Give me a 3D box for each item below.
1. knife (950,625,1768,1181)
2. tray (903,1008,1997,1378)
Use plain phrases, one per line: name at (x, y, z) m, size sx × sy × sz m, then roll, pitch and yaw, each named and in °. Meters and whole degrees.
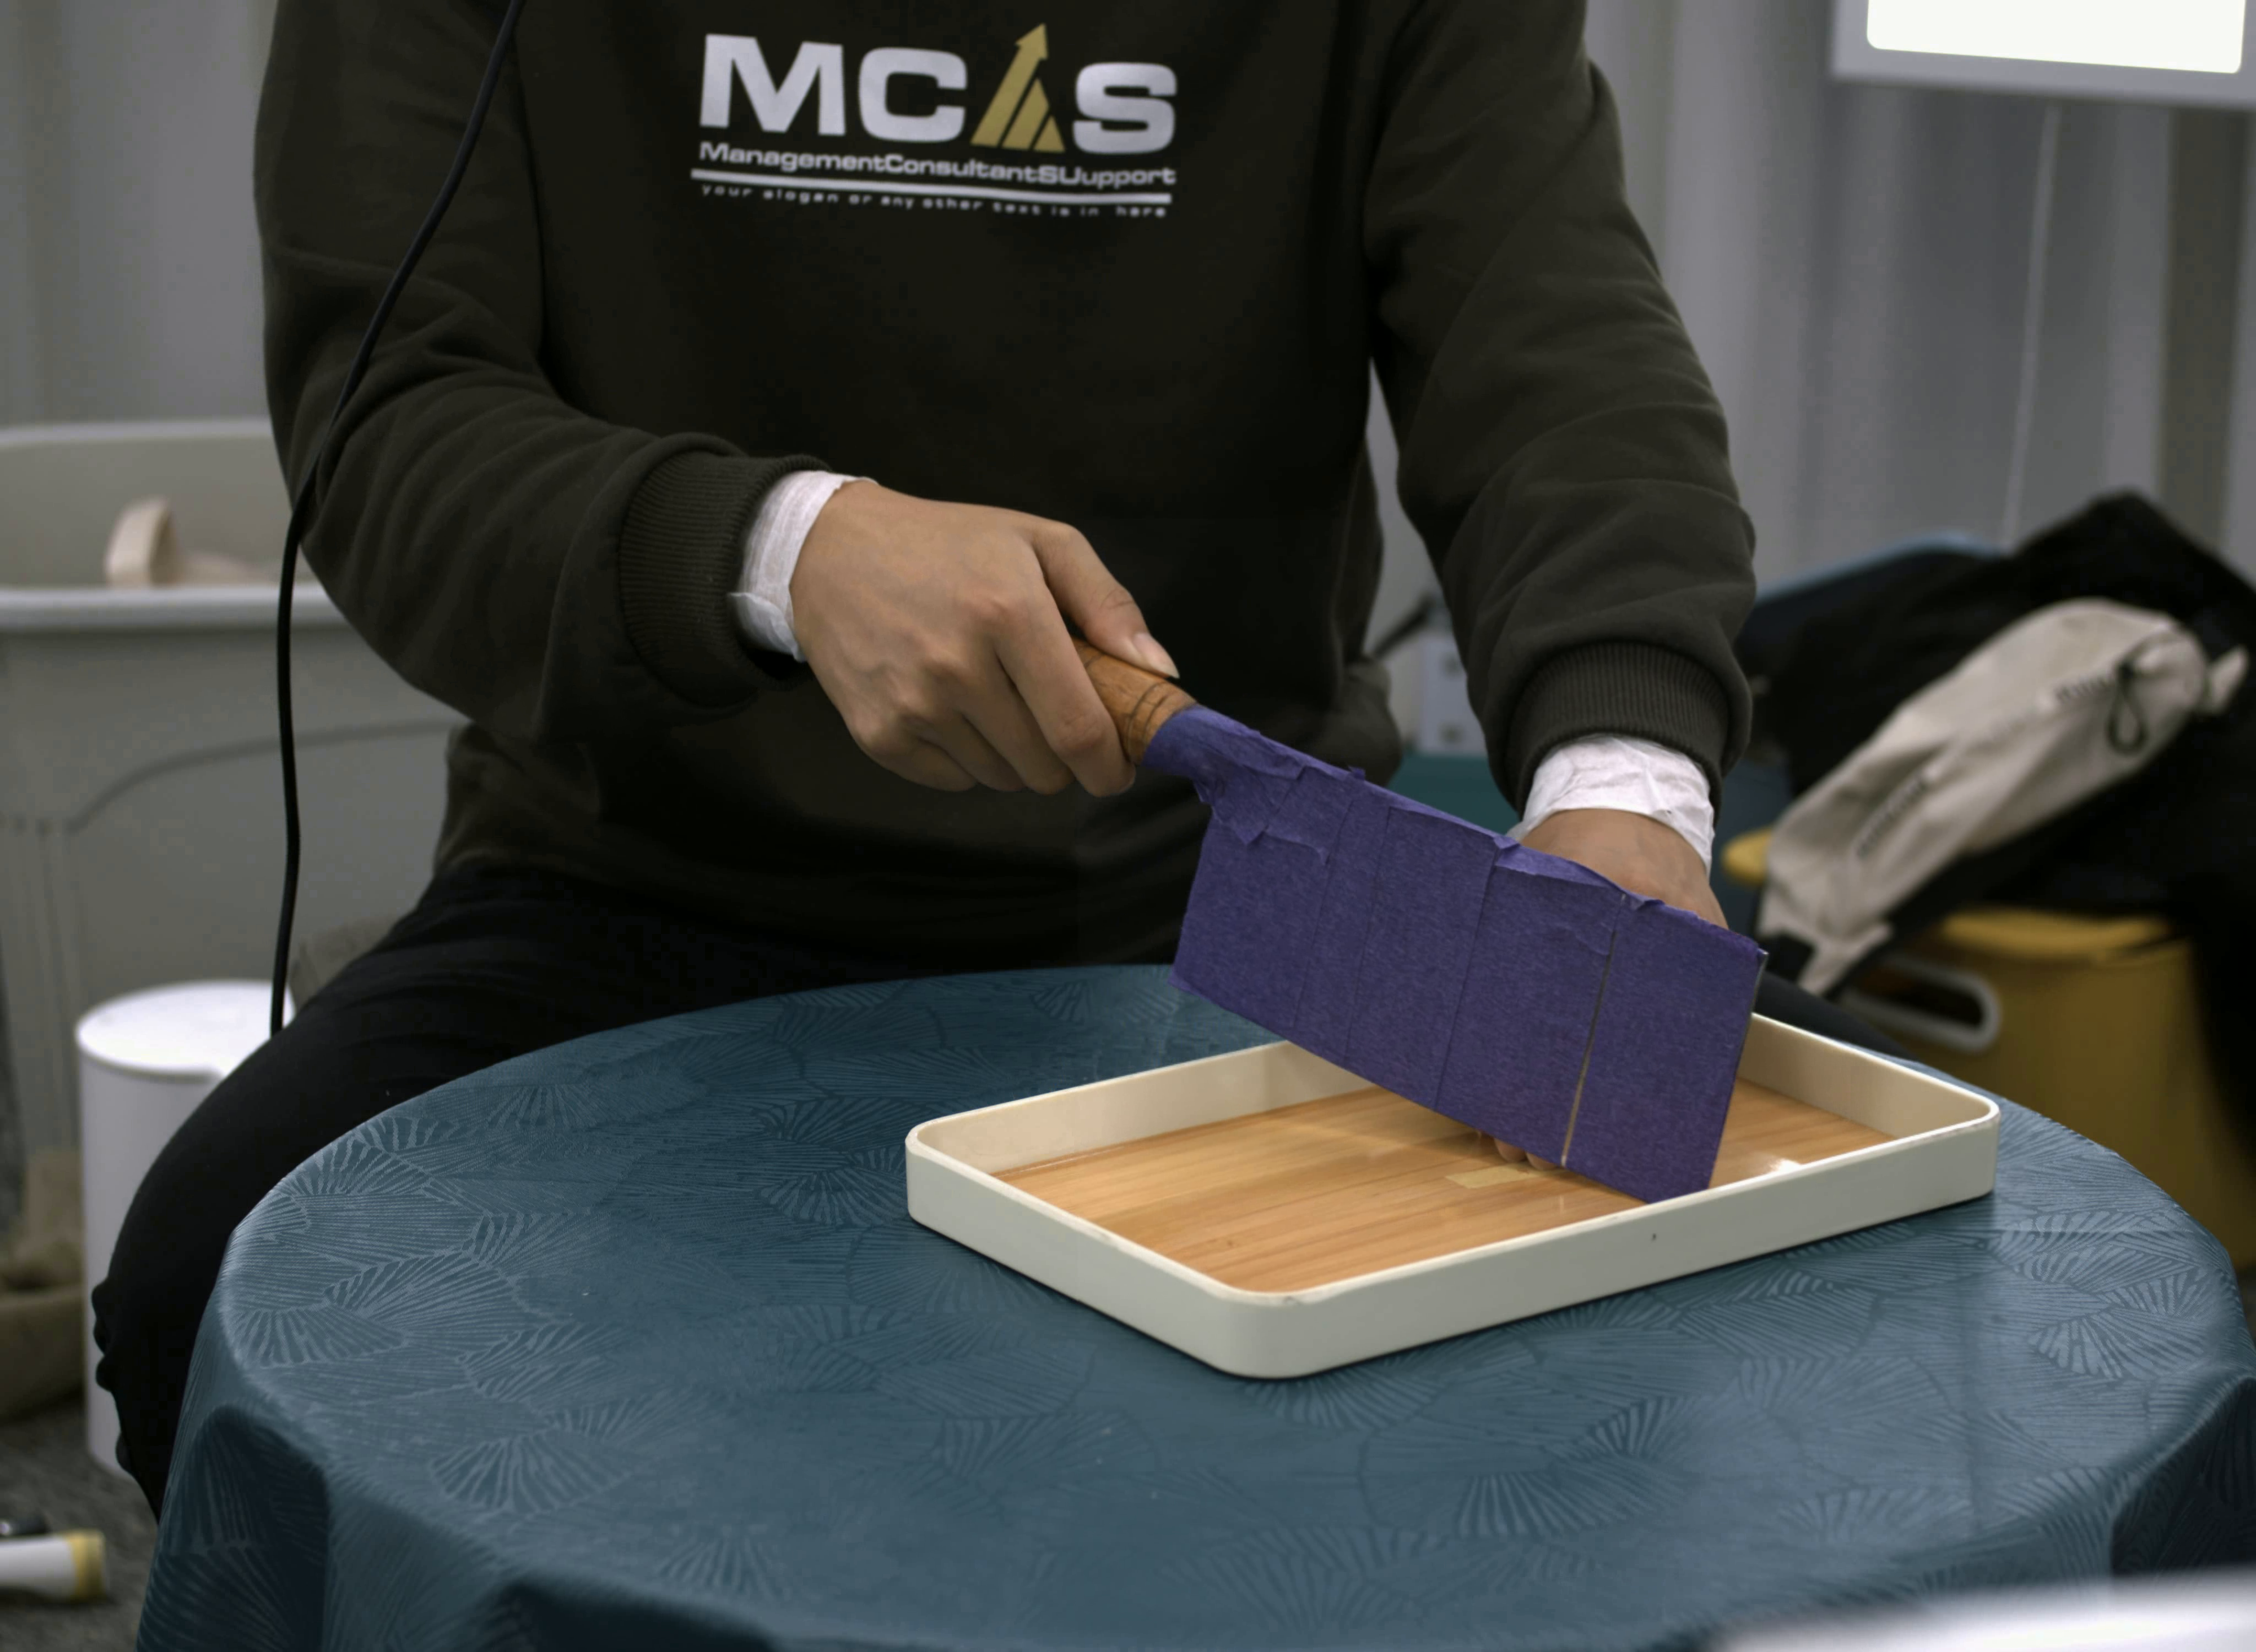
knife at (0.060, 0.024, 1.655) m, size 0.311 × 0.104 × 0.032 m, roll 23°, pitch 17°, yaw 35°
tray at (0.100, 0.101, 1.616) m, size 0.302 × 0.027 × 0.189 m, roll -11°, pitch 20°, yaw -35°
